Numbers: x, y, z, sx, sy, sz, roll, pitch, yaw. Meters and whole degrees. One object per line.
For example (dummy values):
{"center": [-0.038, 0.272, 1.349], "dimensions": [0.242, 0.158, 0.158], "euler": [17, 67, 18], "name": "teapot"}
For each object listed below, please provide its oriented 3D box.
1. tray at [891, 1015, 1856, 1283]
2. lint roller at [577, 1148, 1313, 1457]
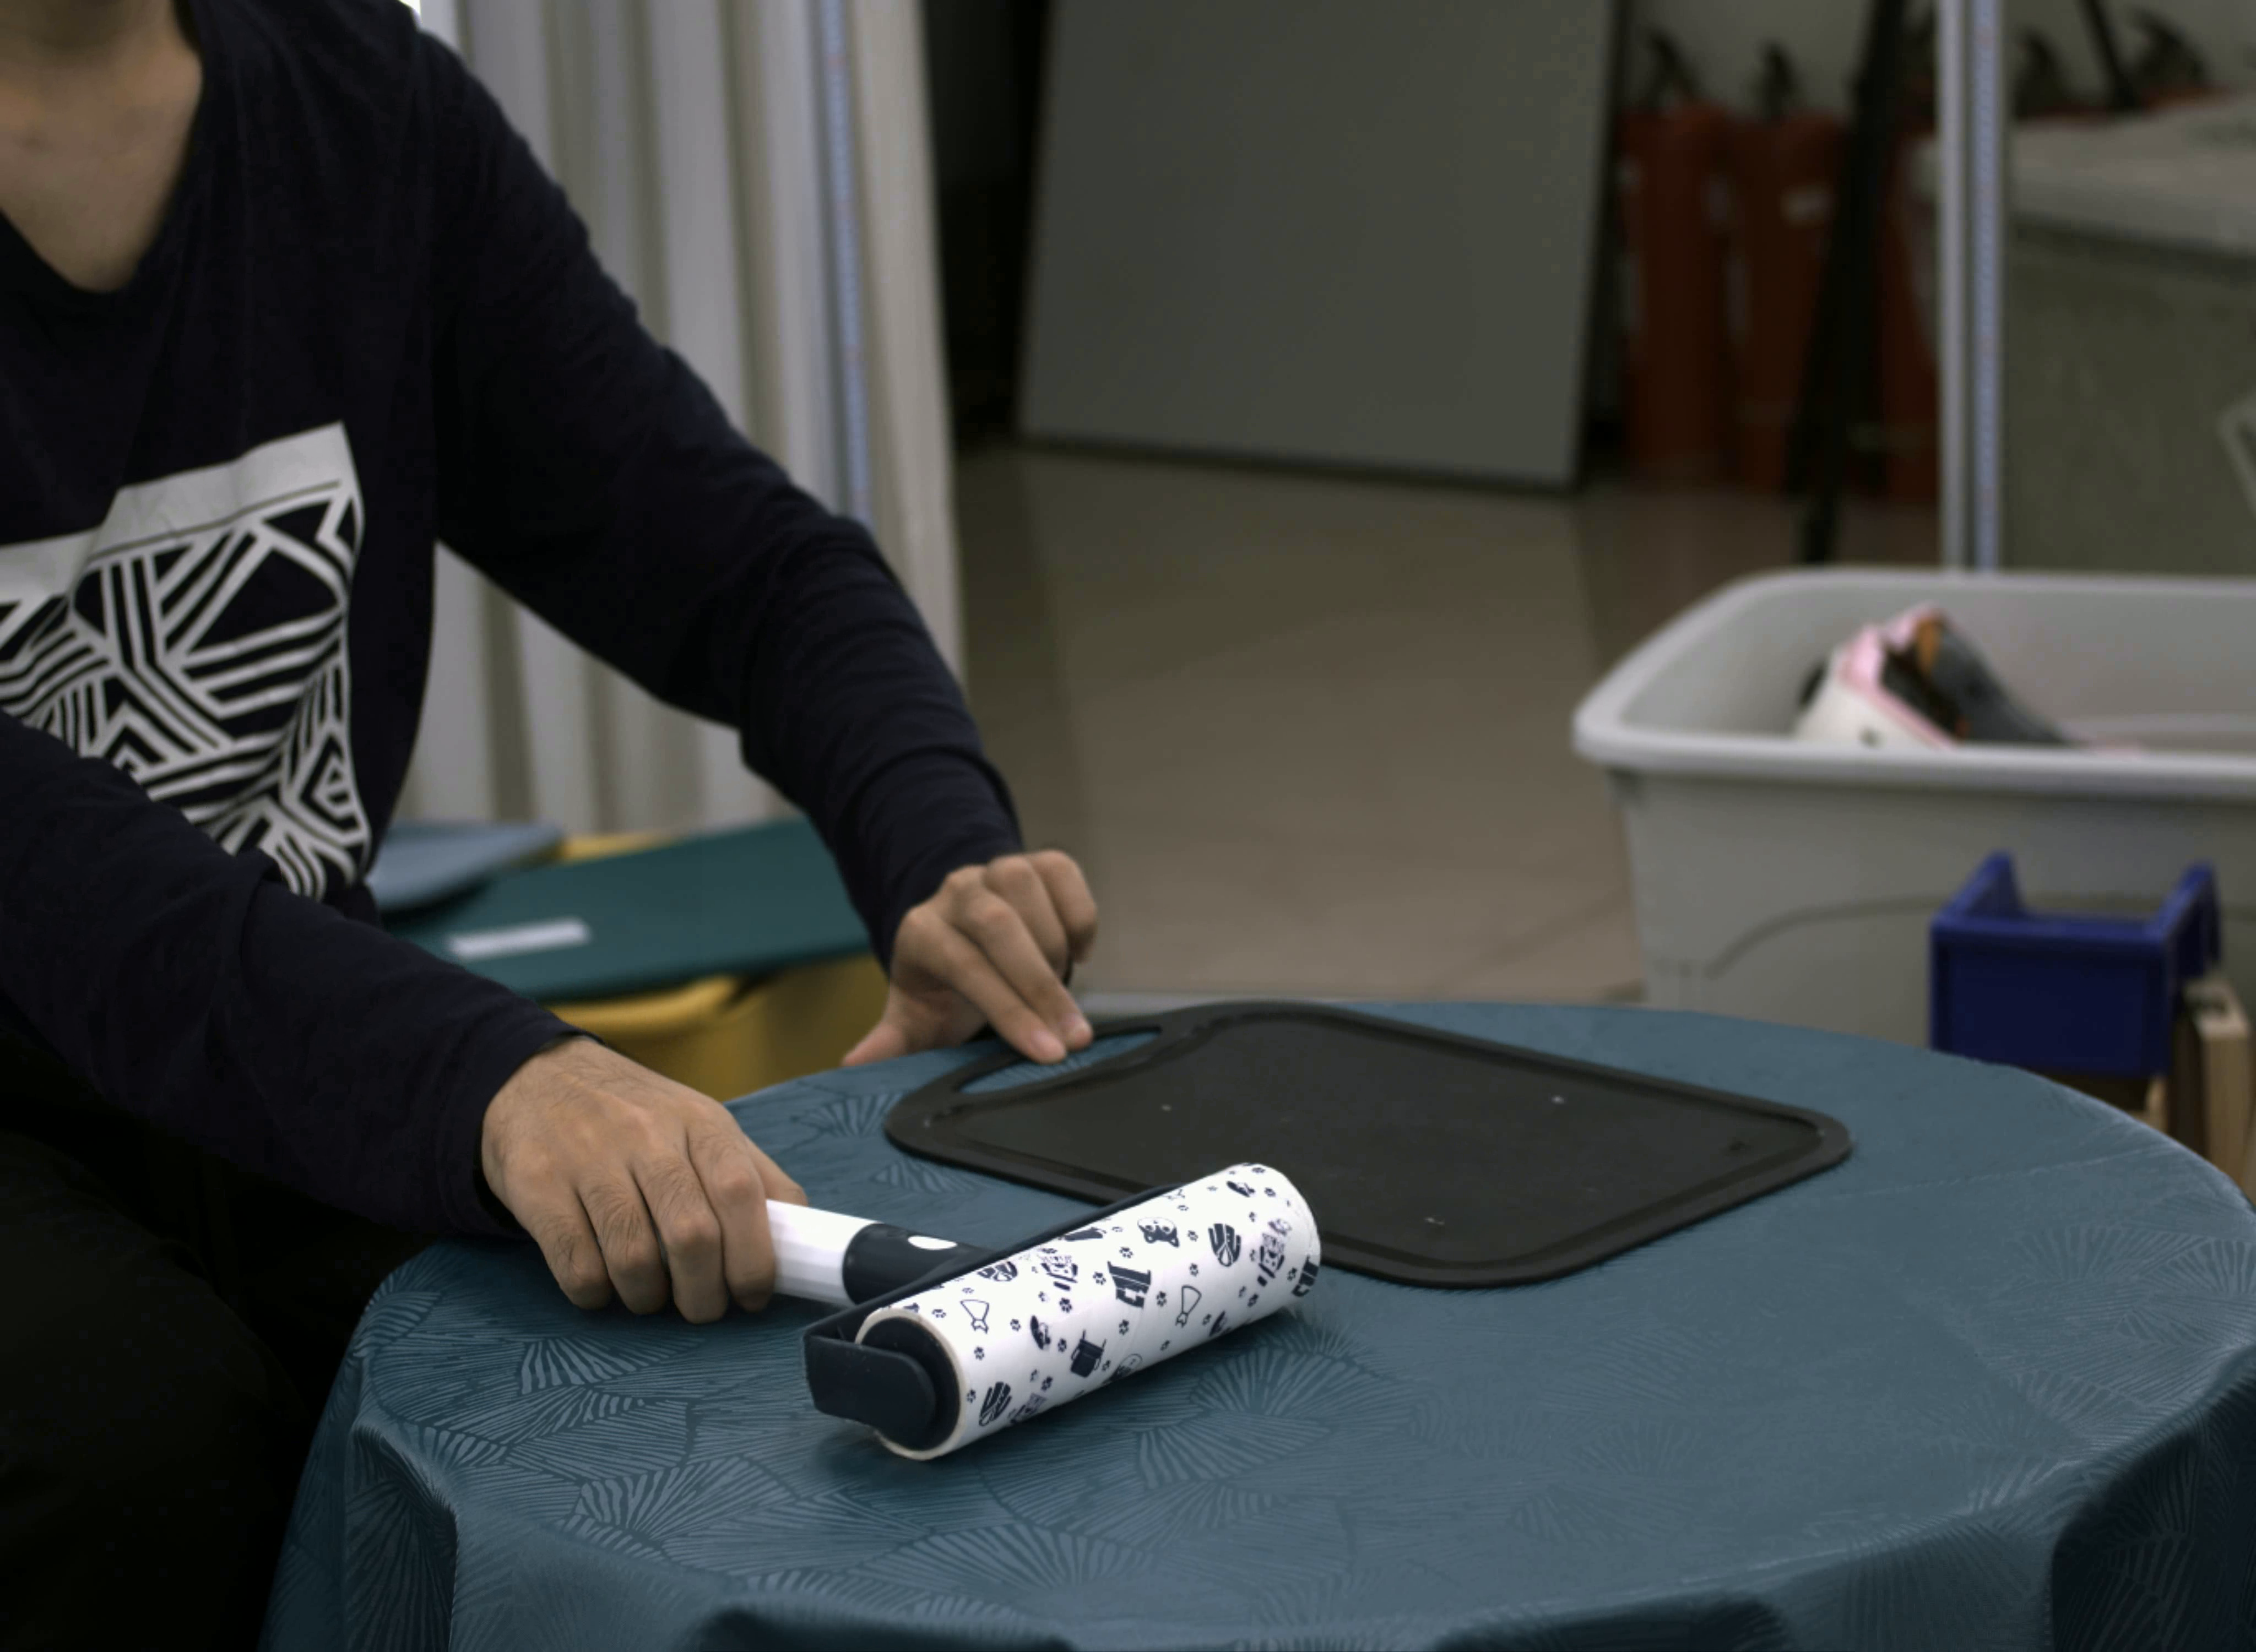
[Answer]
{"center": [0.073, 0.103, 1.816], "dimensions": [0.206, 0.010, 0.328], "euler": [-16, 17, -41], "name": "tray"}
{"center": [-0.085, 0.135, 1.660], "dimensions": [0.249, 0.051, 0.173], "euler": [4, 16, 43], "name": "lint roller"}
